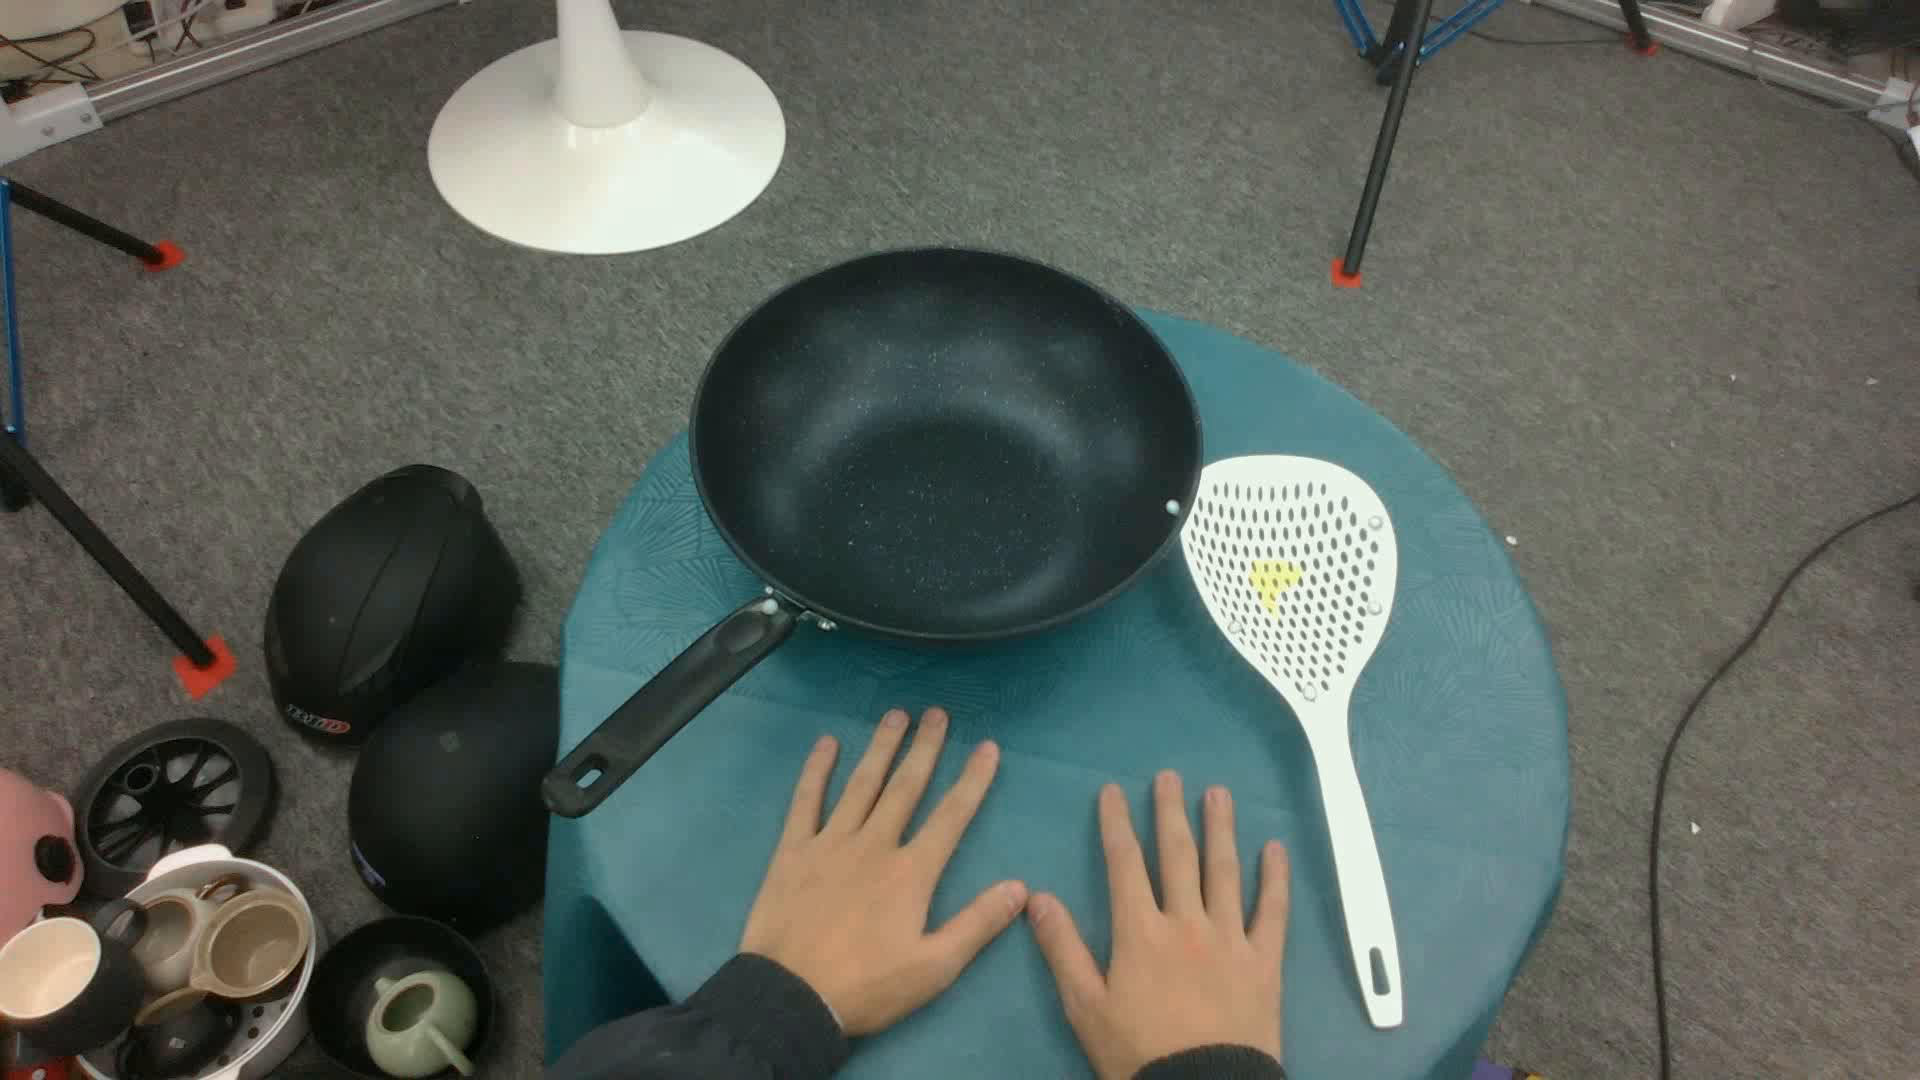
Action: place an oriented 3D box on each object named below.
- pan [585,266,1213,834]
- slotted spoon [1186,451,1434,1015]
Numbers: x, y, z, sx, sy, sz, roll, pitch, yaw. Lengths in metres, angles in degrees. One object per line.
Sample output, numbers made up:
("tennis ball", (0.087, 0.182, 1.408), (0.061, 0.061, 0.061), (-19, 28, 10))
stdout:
("pan", (-0.045, 0.008, 0.826), (0.310, 0.111, 0.479), (26, 56, 20))
("slotted spoon", (0.218, 0.095, 0.803), (0.137, 0.050, 0.349), (-3, 53, -5))
